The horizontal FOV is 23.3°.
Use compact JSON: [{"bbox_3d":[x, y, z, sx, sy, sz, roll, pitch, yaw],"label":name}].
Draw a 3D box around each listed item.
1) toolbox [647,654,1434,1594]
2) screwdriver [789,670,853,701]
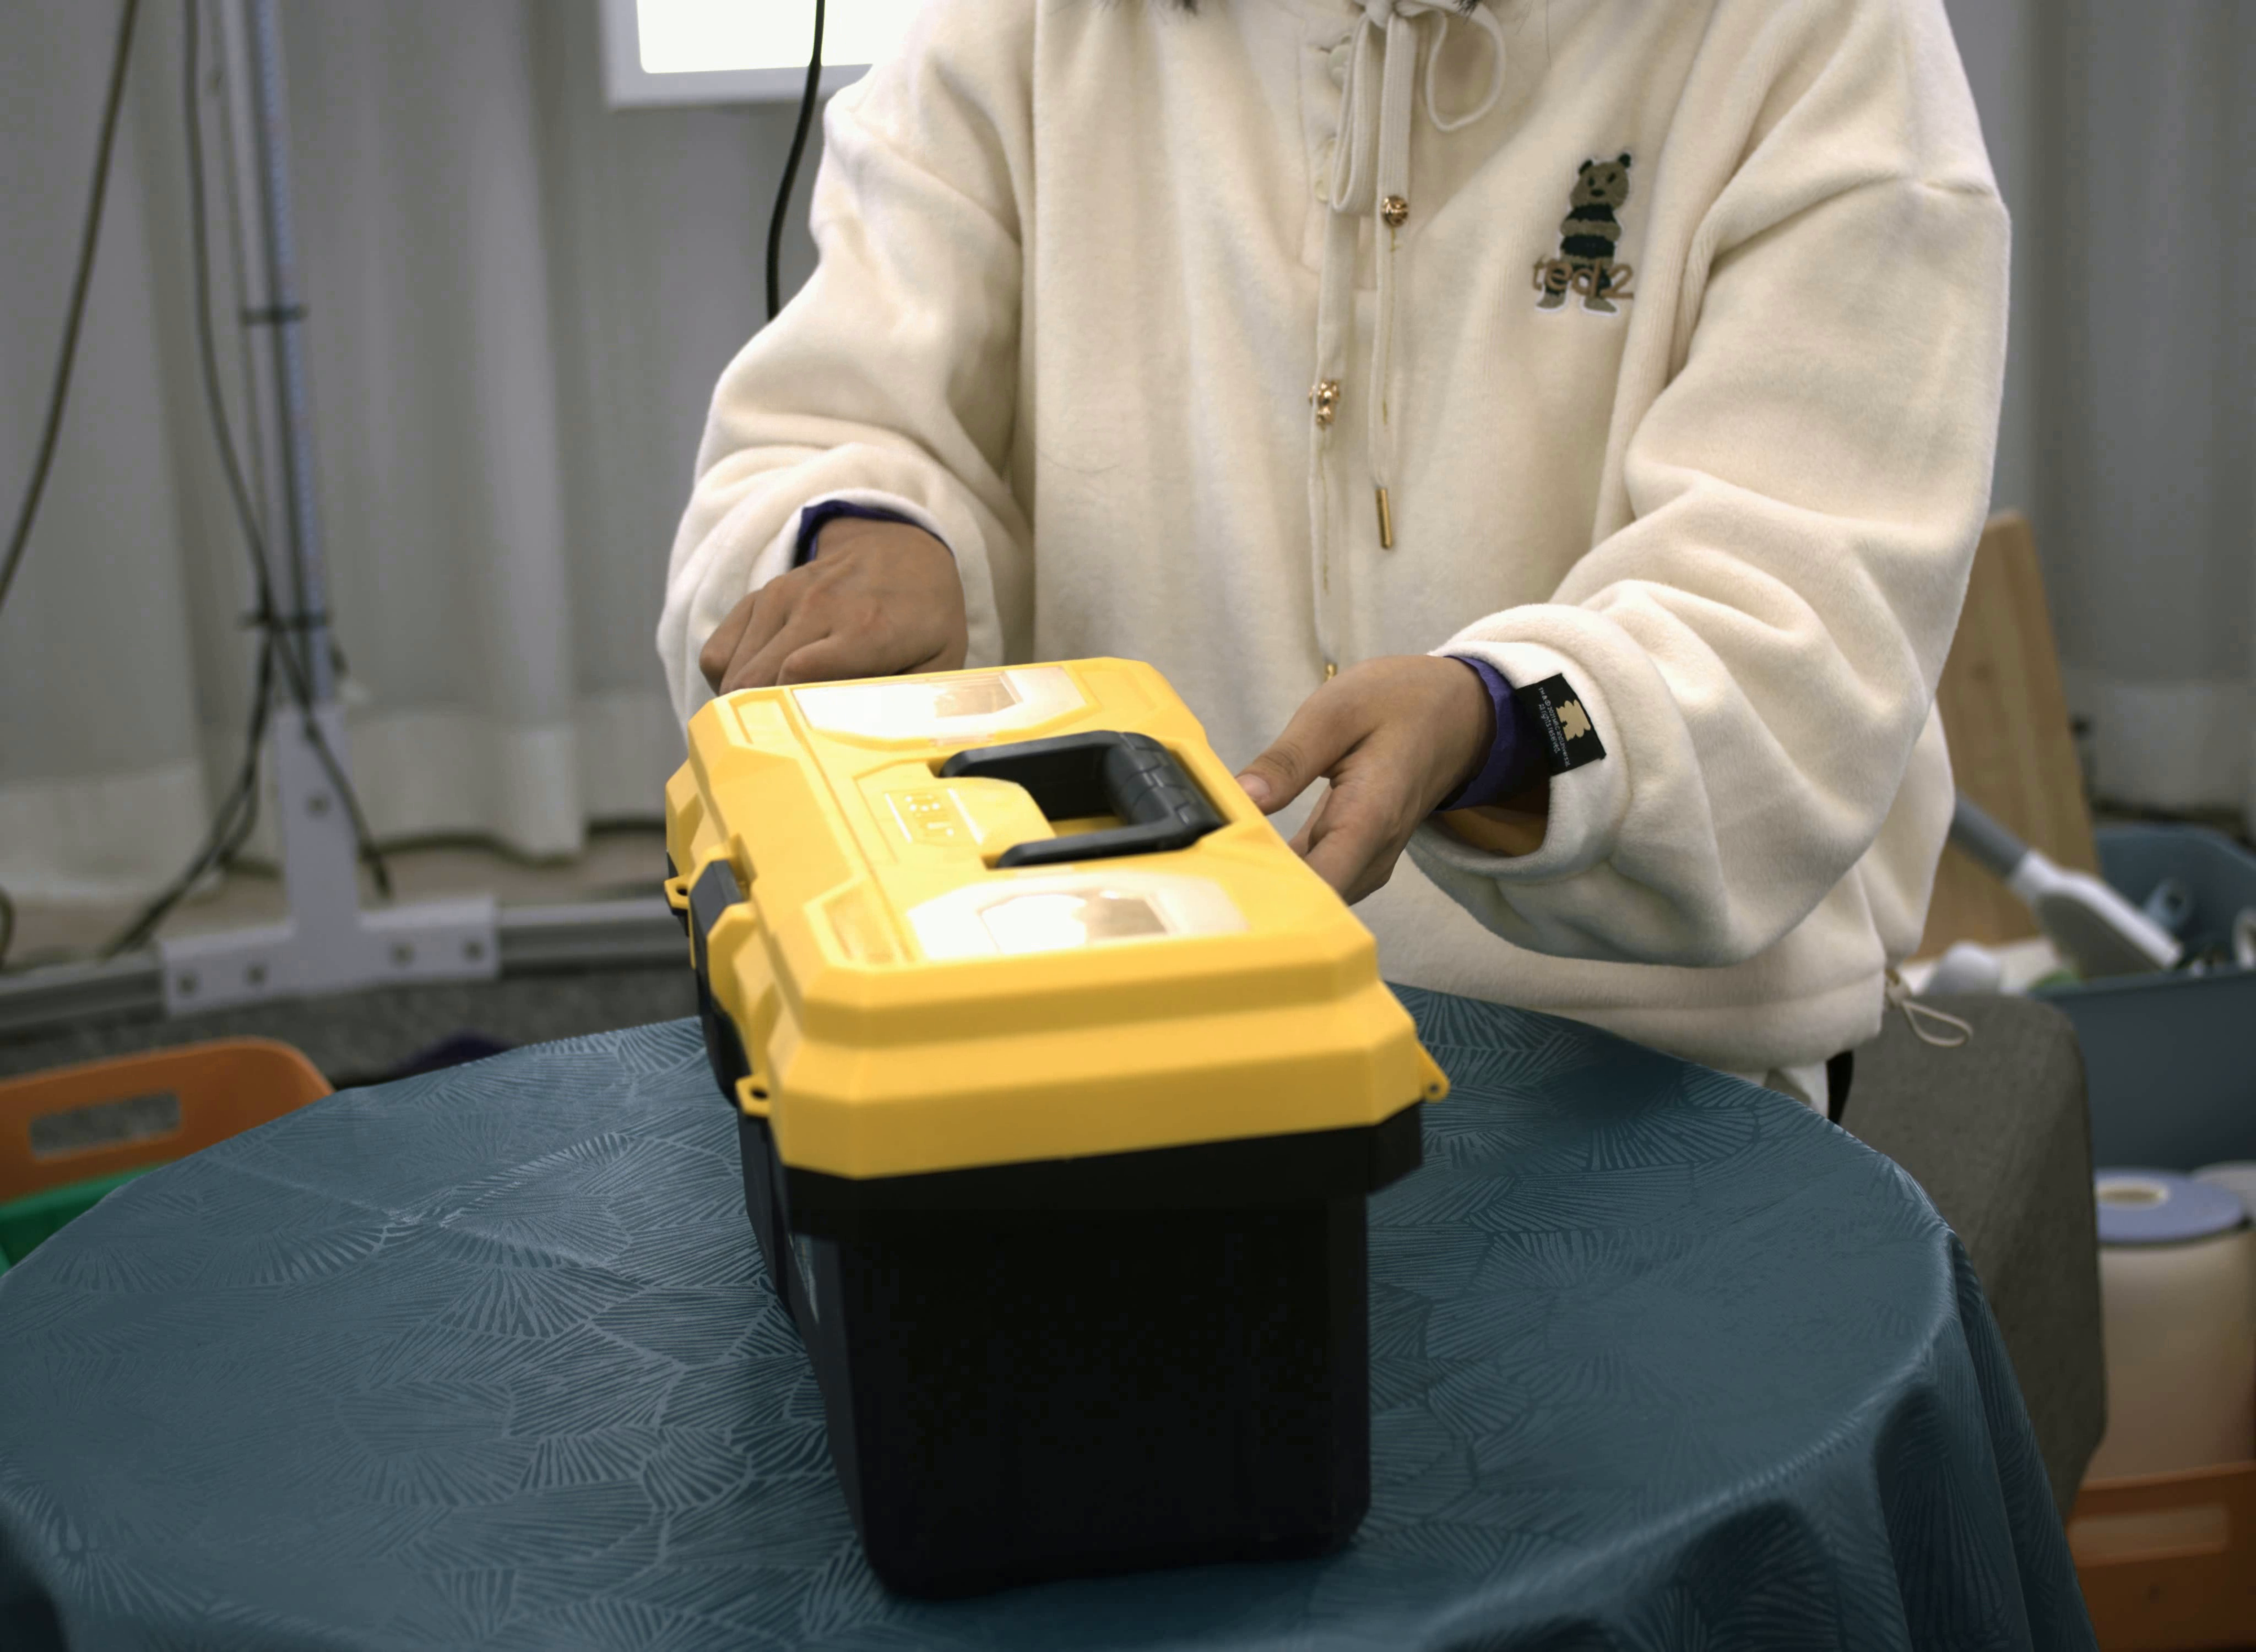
[{"bbox_3d":[-0.031,0.074,1.538,0.180,0.172,0.354,-5,15,-8],"label":"toolbox"},{"bbox_3d":[-0.095,-0.037,1.775,0.031,0.031,0.196,-4,0,-4],"label":"screwdriver"}]
